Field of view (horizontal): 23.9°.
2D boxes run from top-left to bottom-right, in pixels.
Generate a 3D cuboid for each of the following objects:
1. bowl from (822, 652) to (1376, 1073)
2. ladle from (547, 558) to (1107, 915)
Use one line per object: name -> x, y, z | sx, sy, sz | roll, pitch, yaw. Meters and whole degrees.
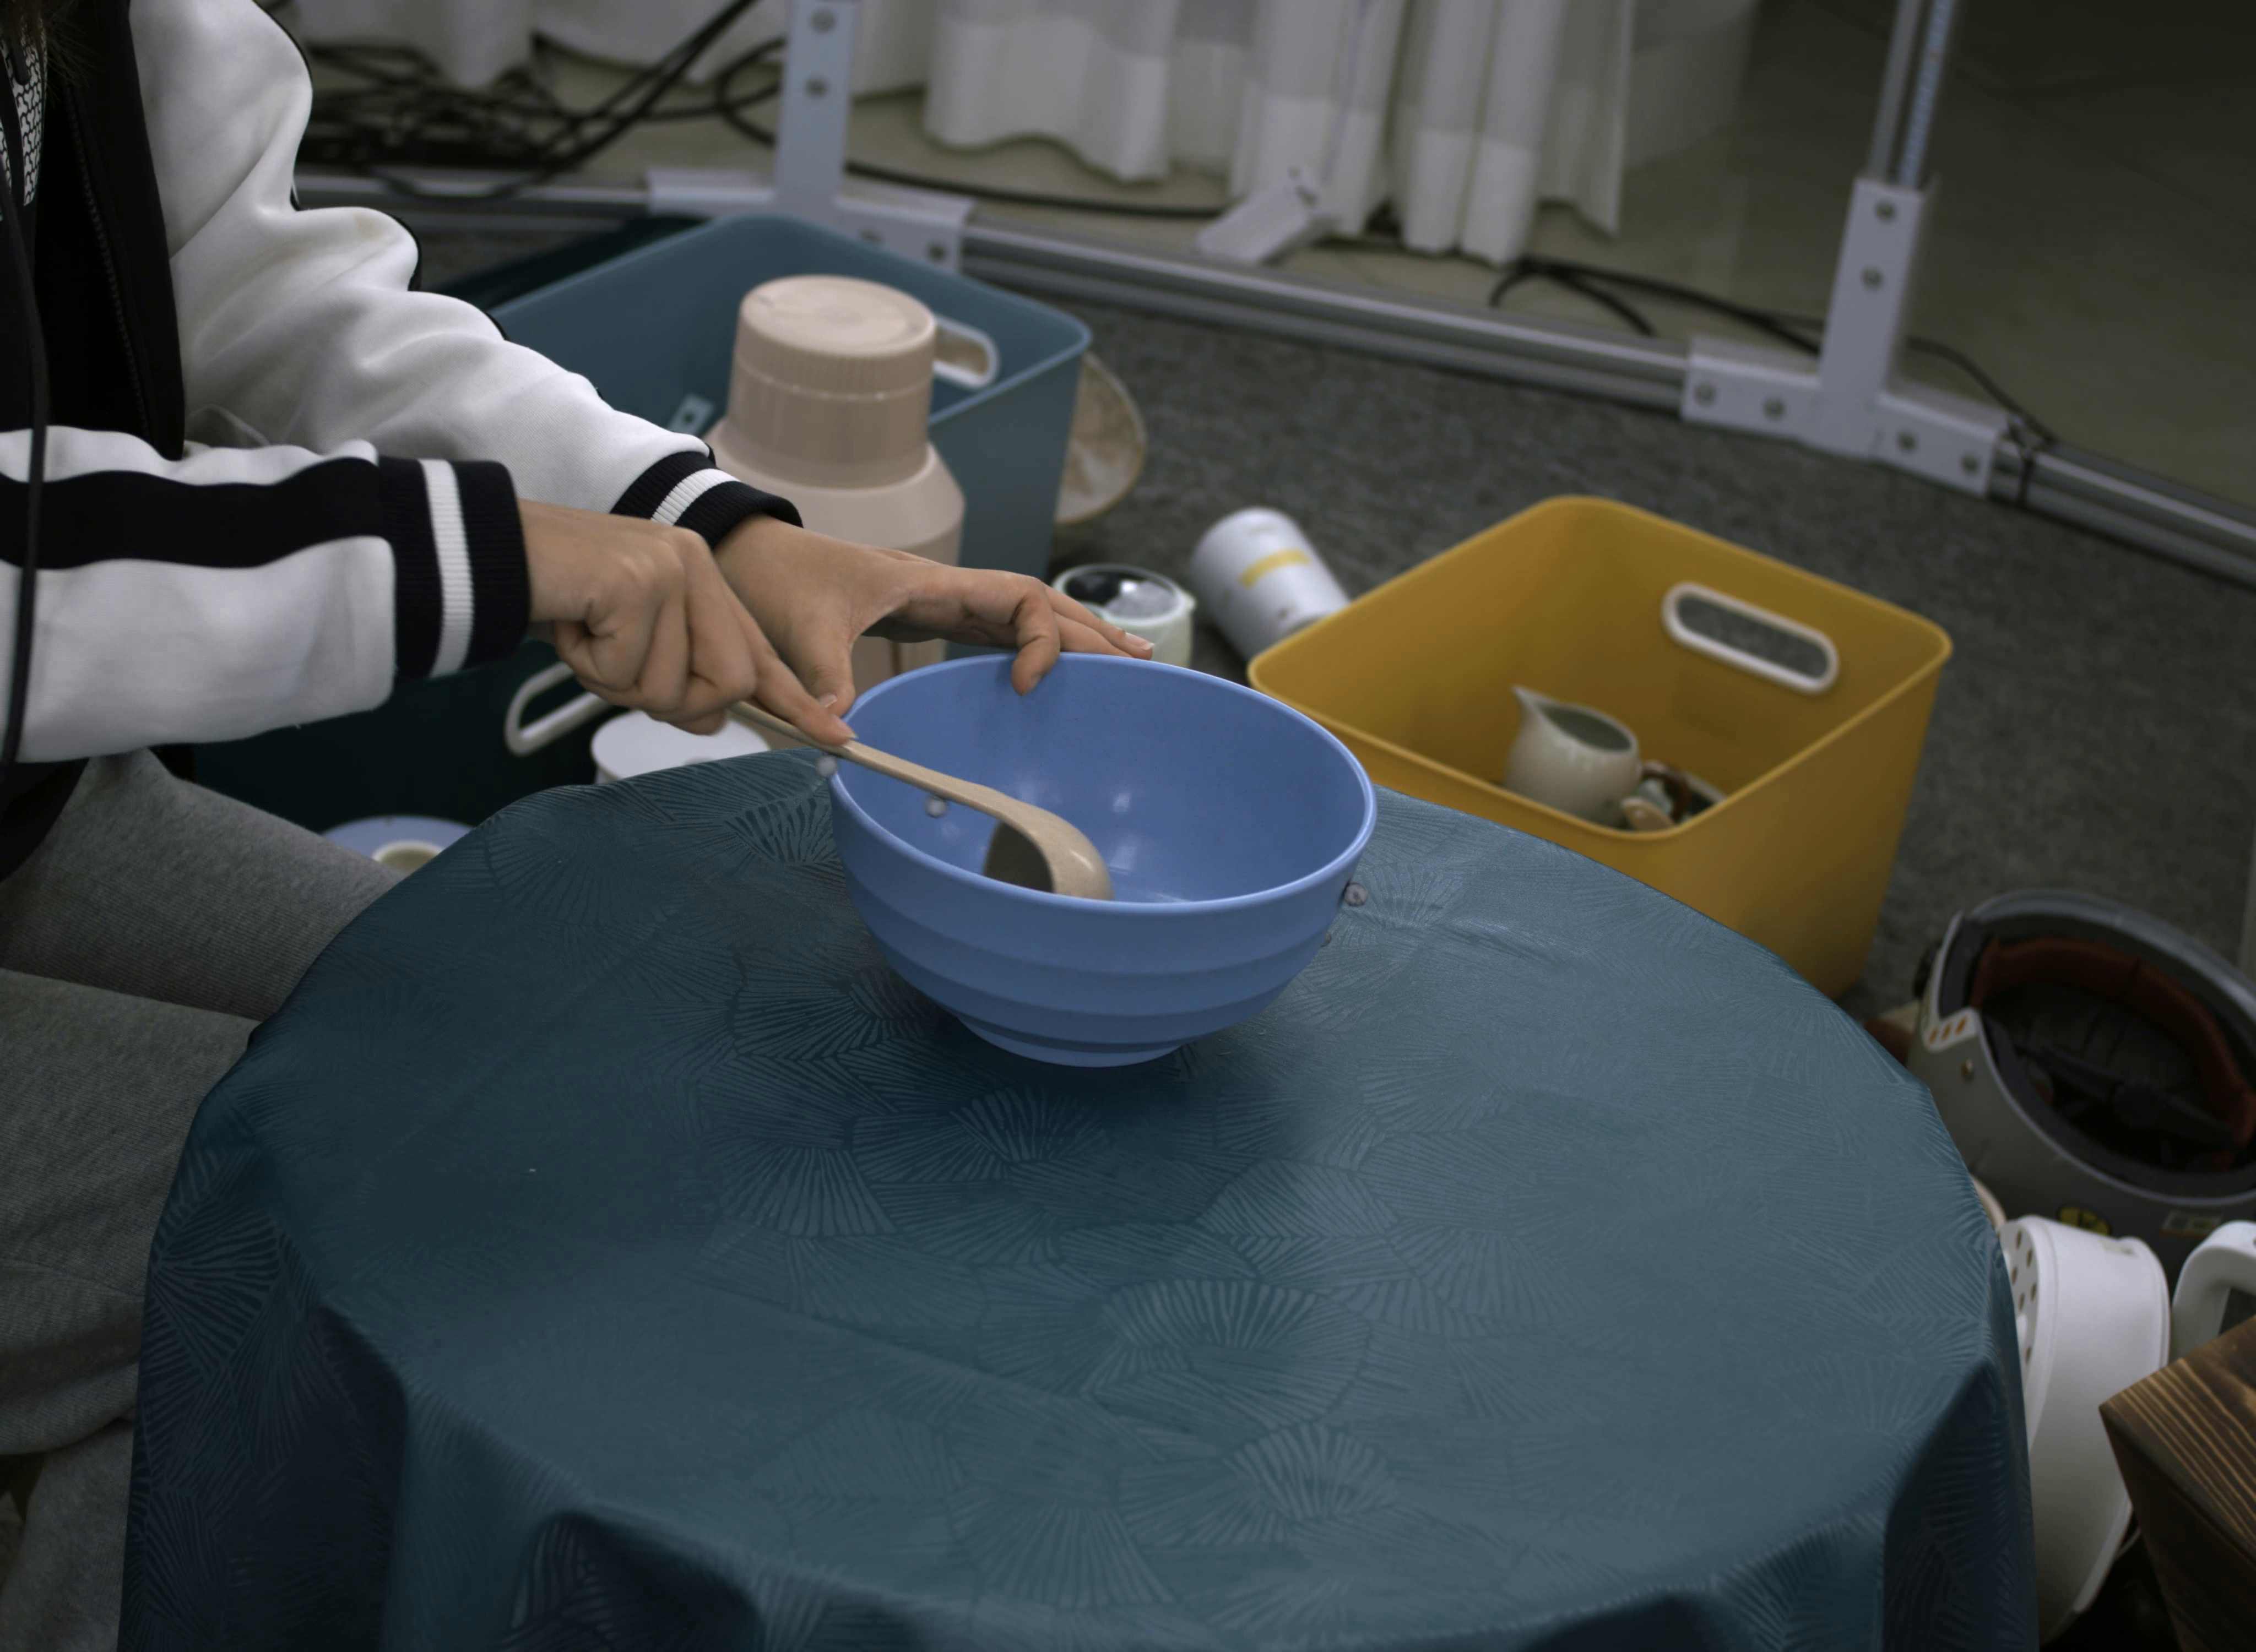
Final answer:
bowl -> -0.014, 0.025, 1.895 | 0.196, 0.095, 0.198 | 4, 28, -3
ladle -> -0.115, -0.009, 1.818 | 0.252, 0.073, 0.073 | 27, 18, -31
